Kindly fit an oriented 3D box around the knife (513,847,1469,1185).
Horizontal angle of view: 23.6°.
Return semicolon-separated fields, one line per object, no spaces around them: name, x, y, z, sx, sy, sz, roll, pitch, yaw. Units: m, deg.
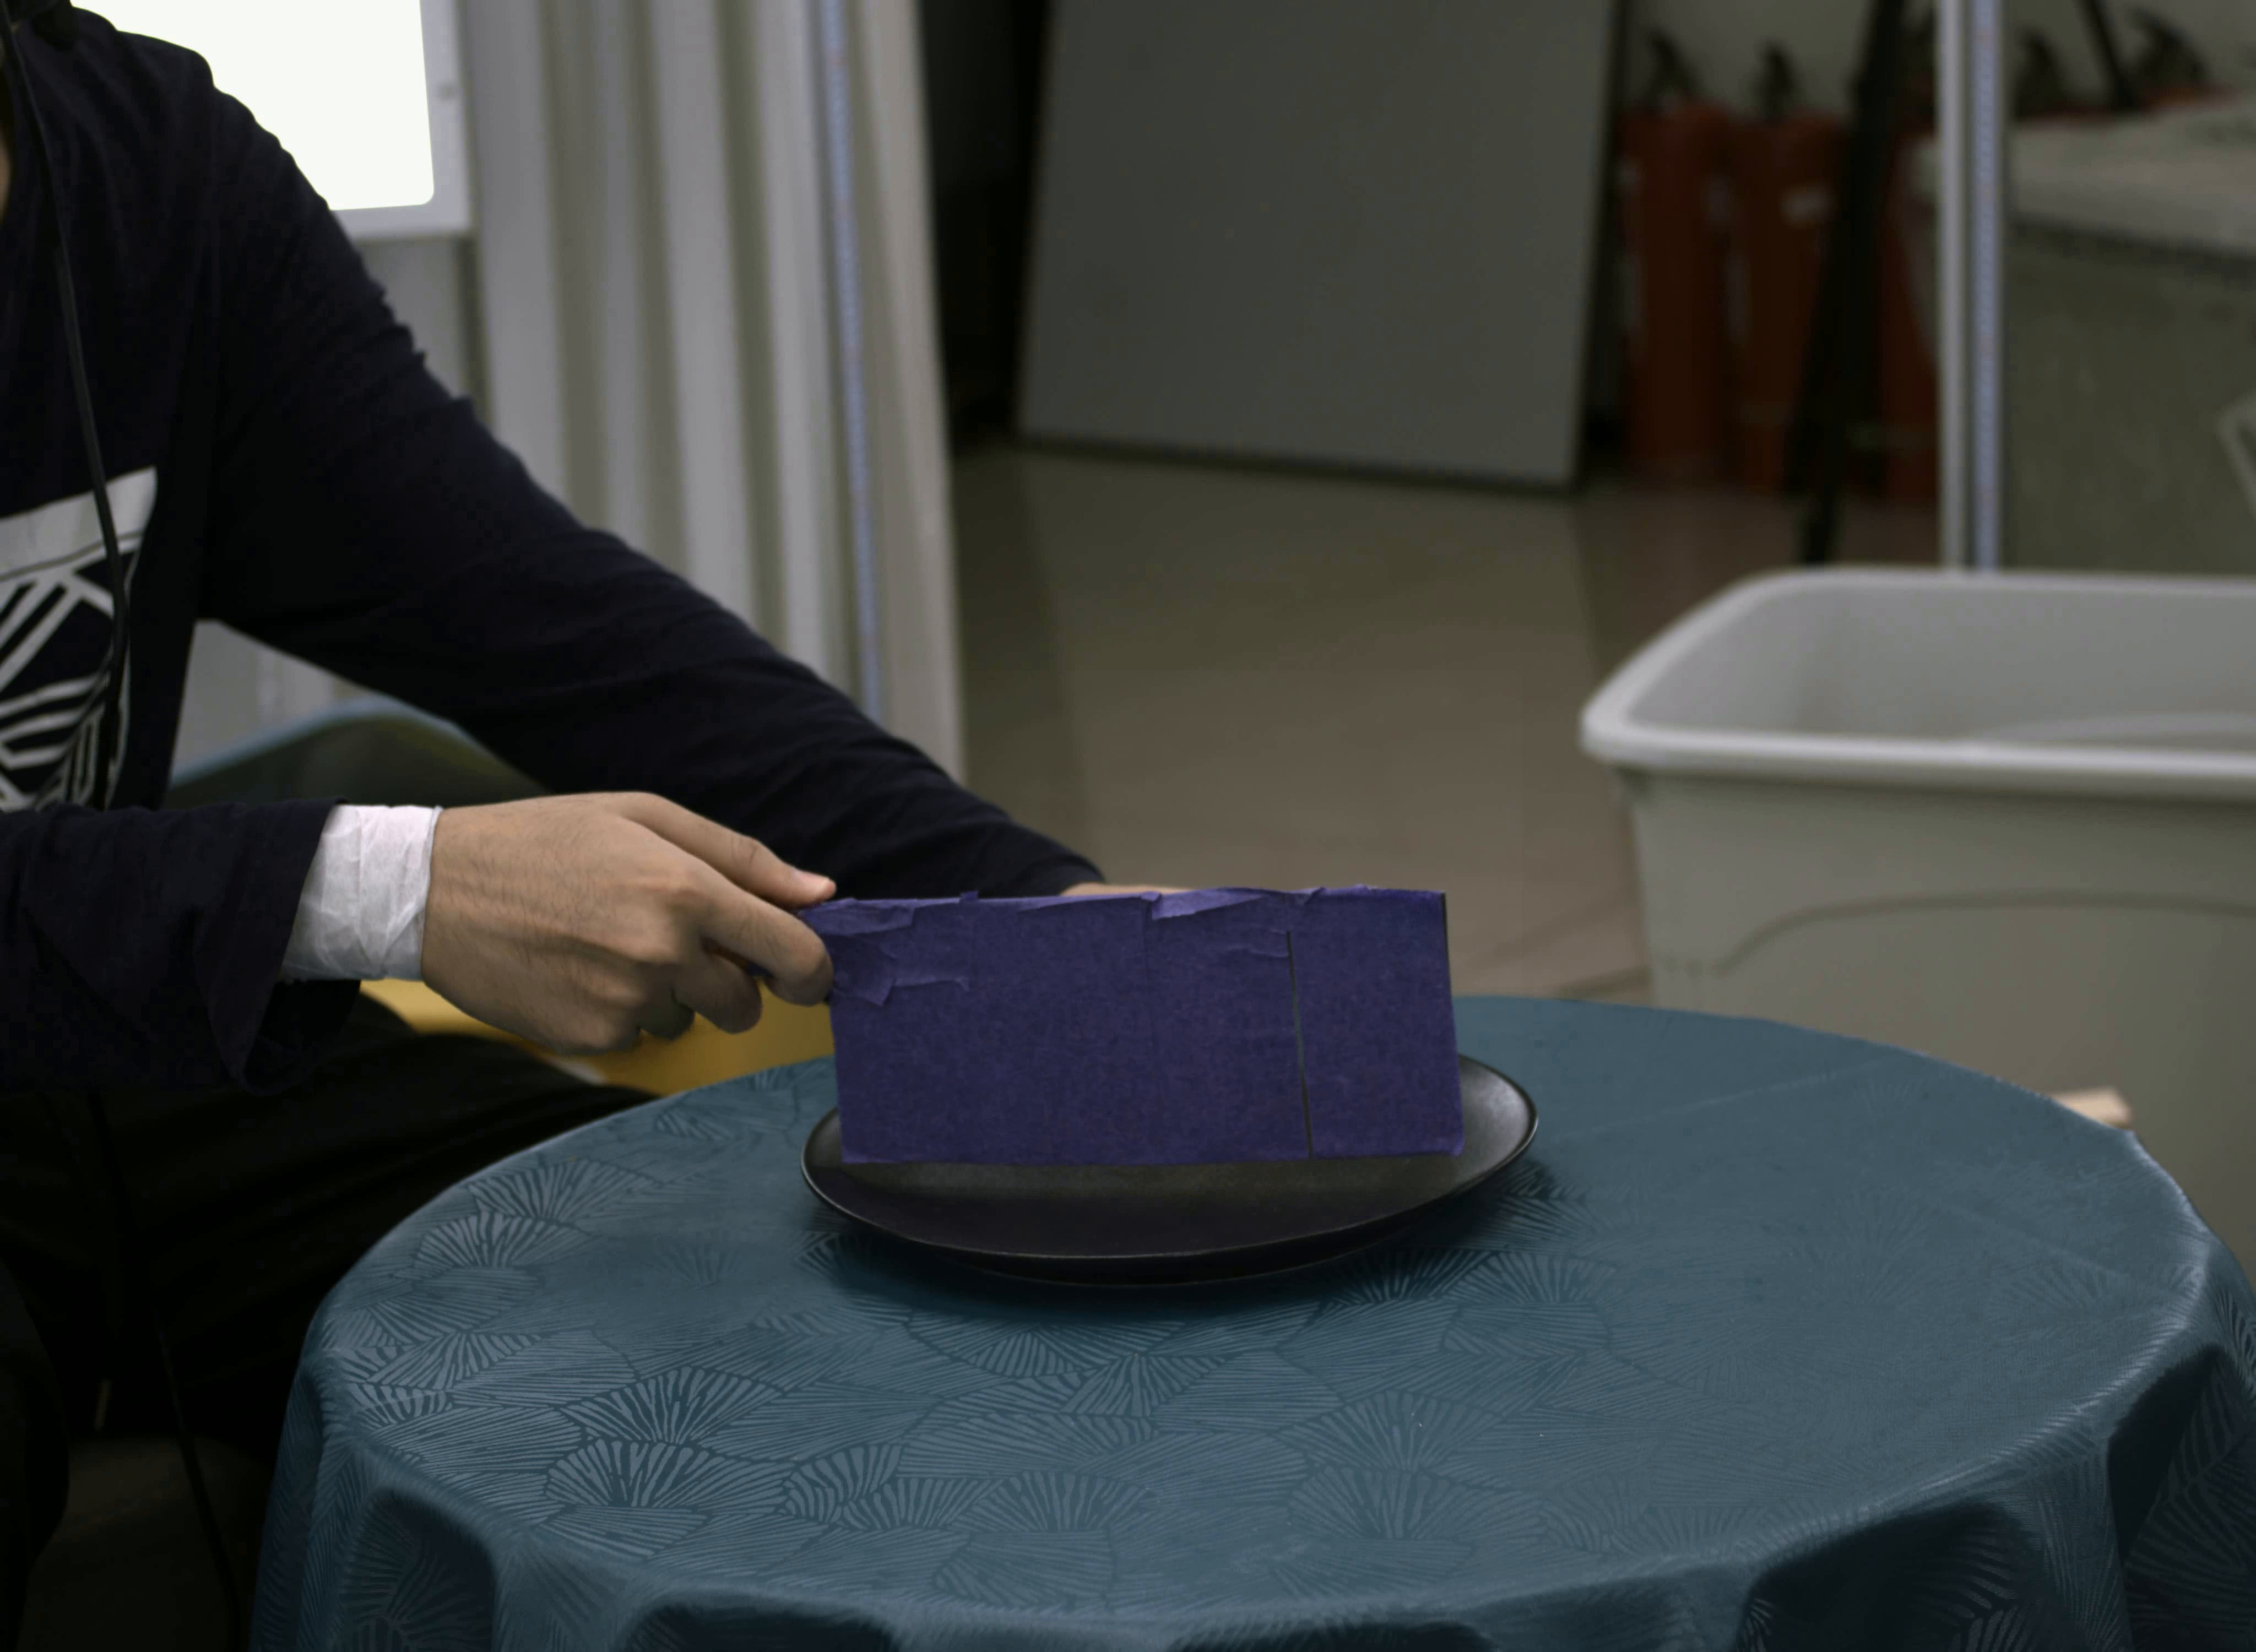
knife;-0.046;0.065;1.744;0.314;0.105;0.032;-3;9;15

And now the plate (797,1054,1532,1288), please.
plate;0.013;0.111;1.761;0.241;0.024;0.245;-4;14;0
